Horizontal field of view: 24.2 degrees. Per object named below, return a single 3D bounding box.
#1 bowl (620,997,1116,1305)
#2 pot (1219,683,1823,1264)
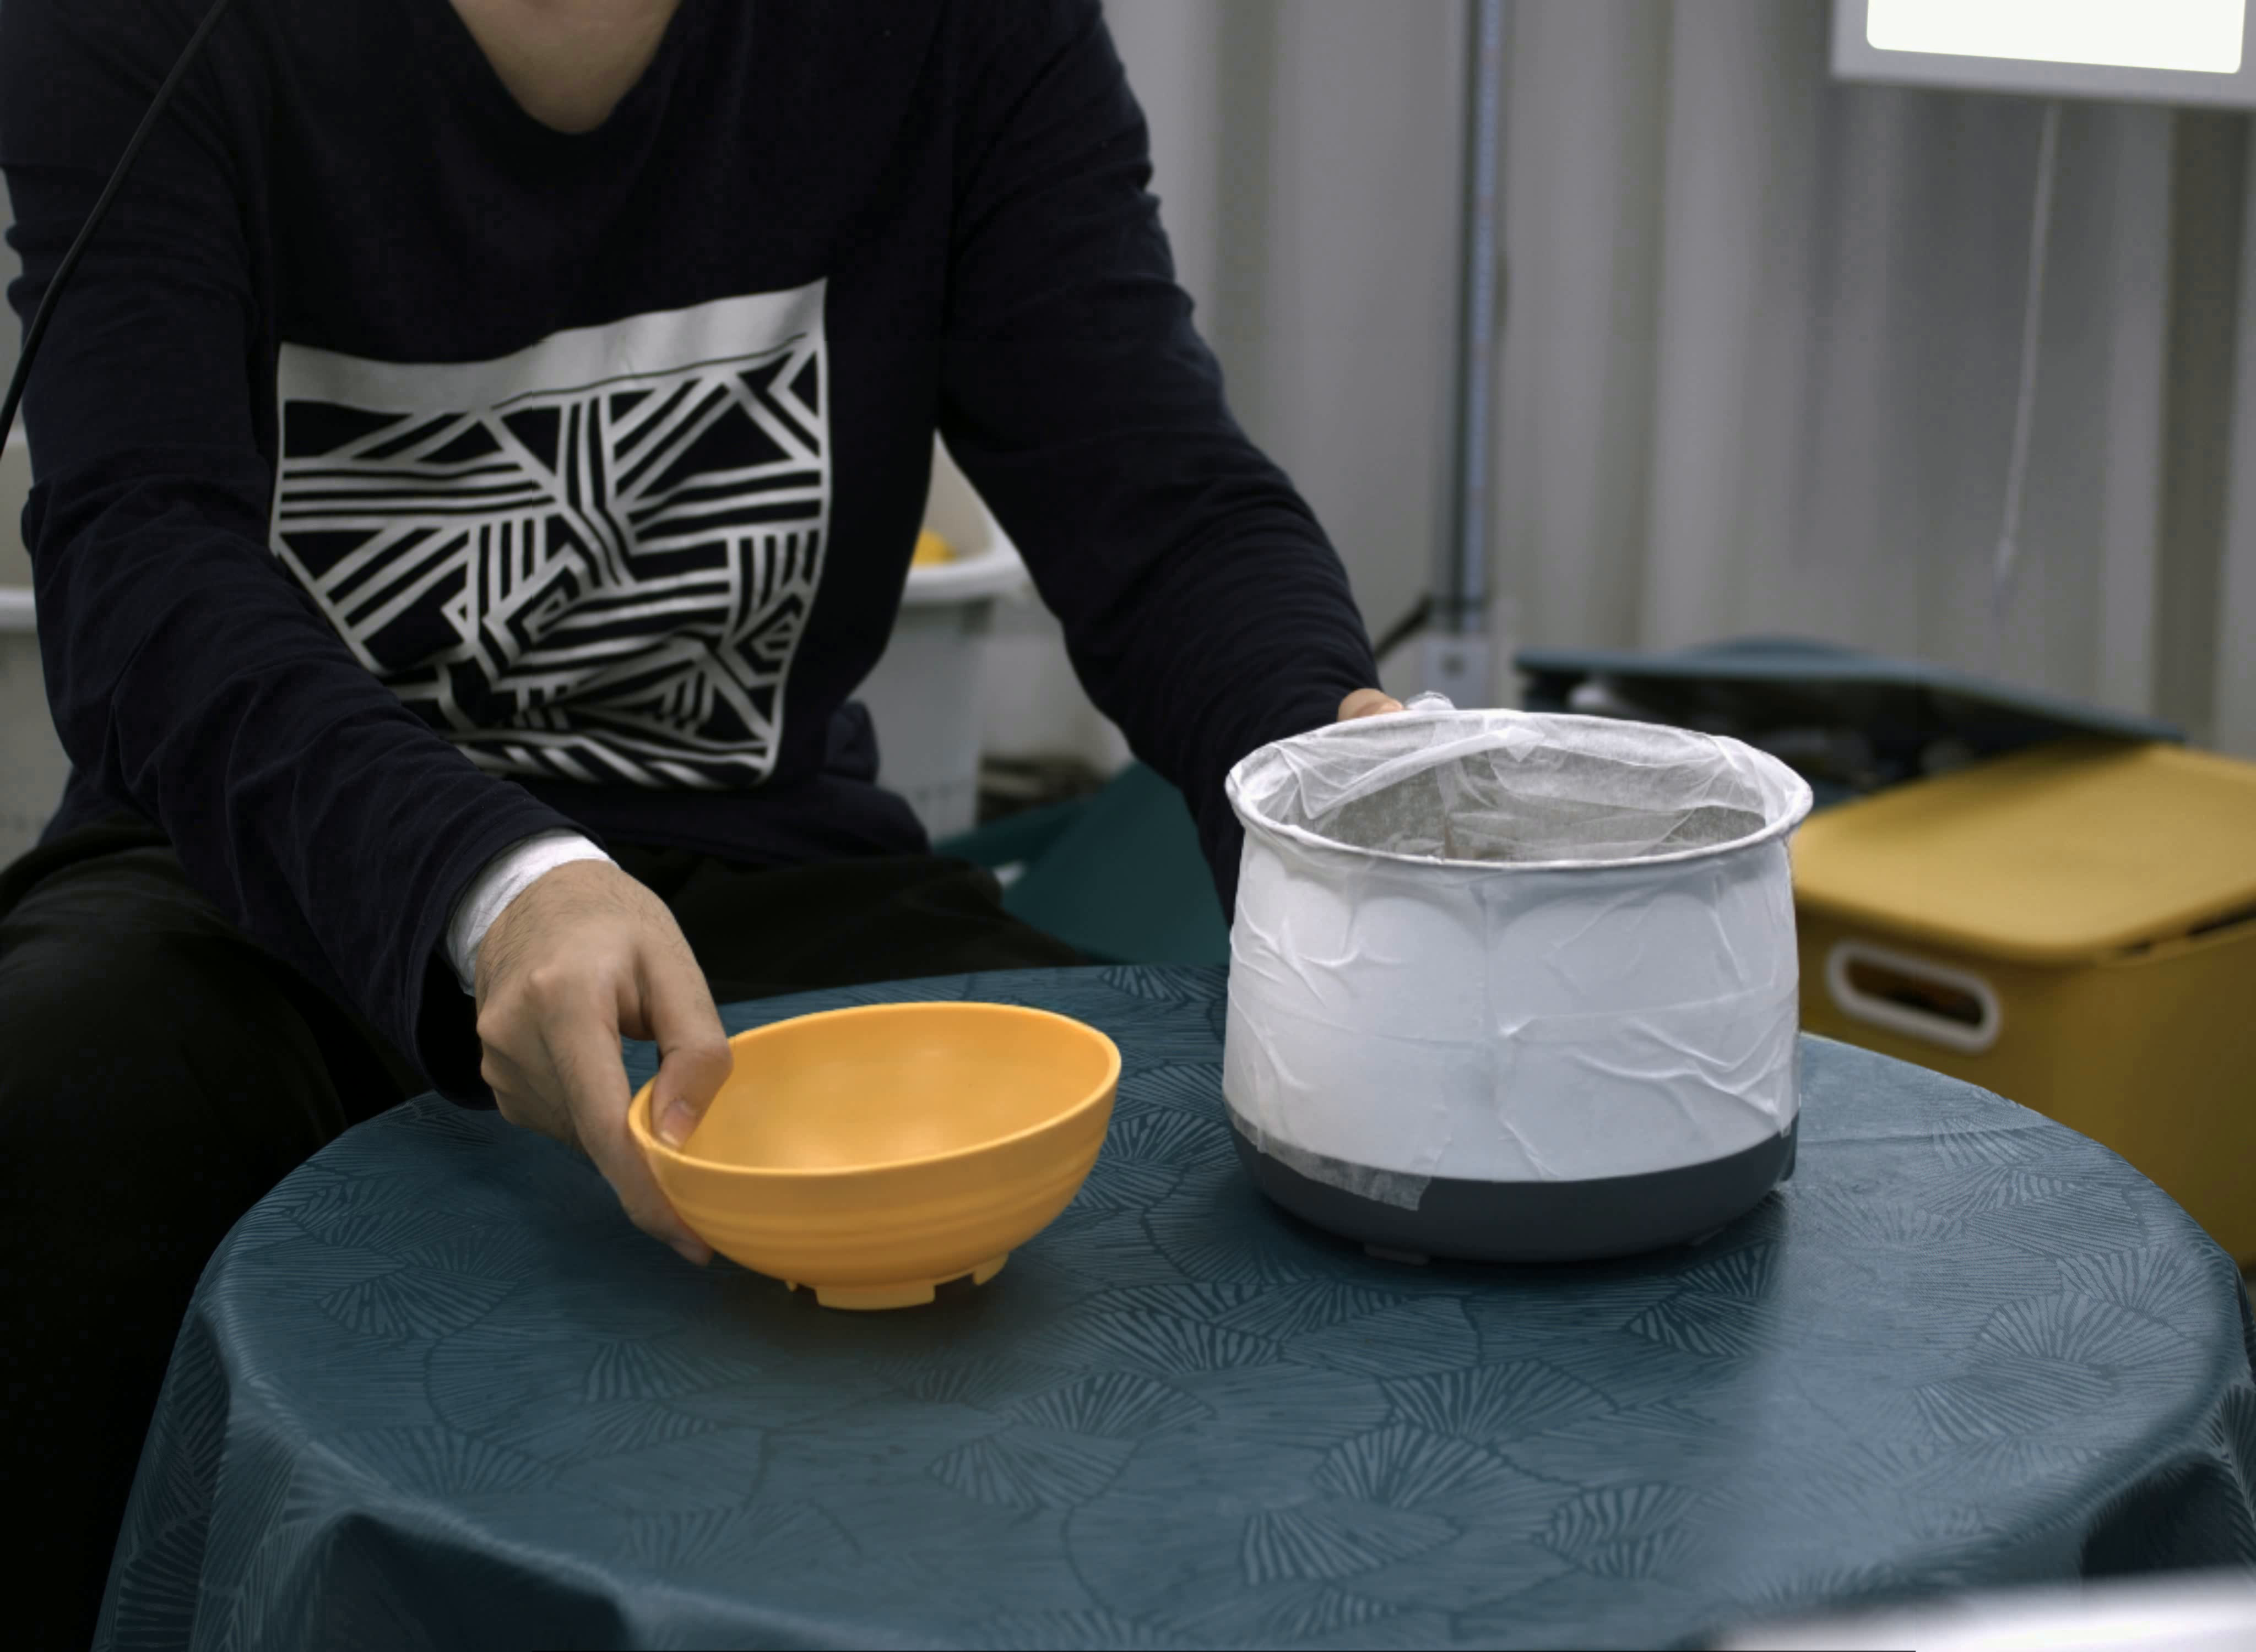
[{"bbox_3d":[-0.073,0.100,1.537,0.145,0.060,0.144,-4,17,2],"label":"bowl"},{"bbox_3d":[0.111,0.040,1.628,0.179,0.138,0.231,-1,17,-15],"label":"pot"}]
